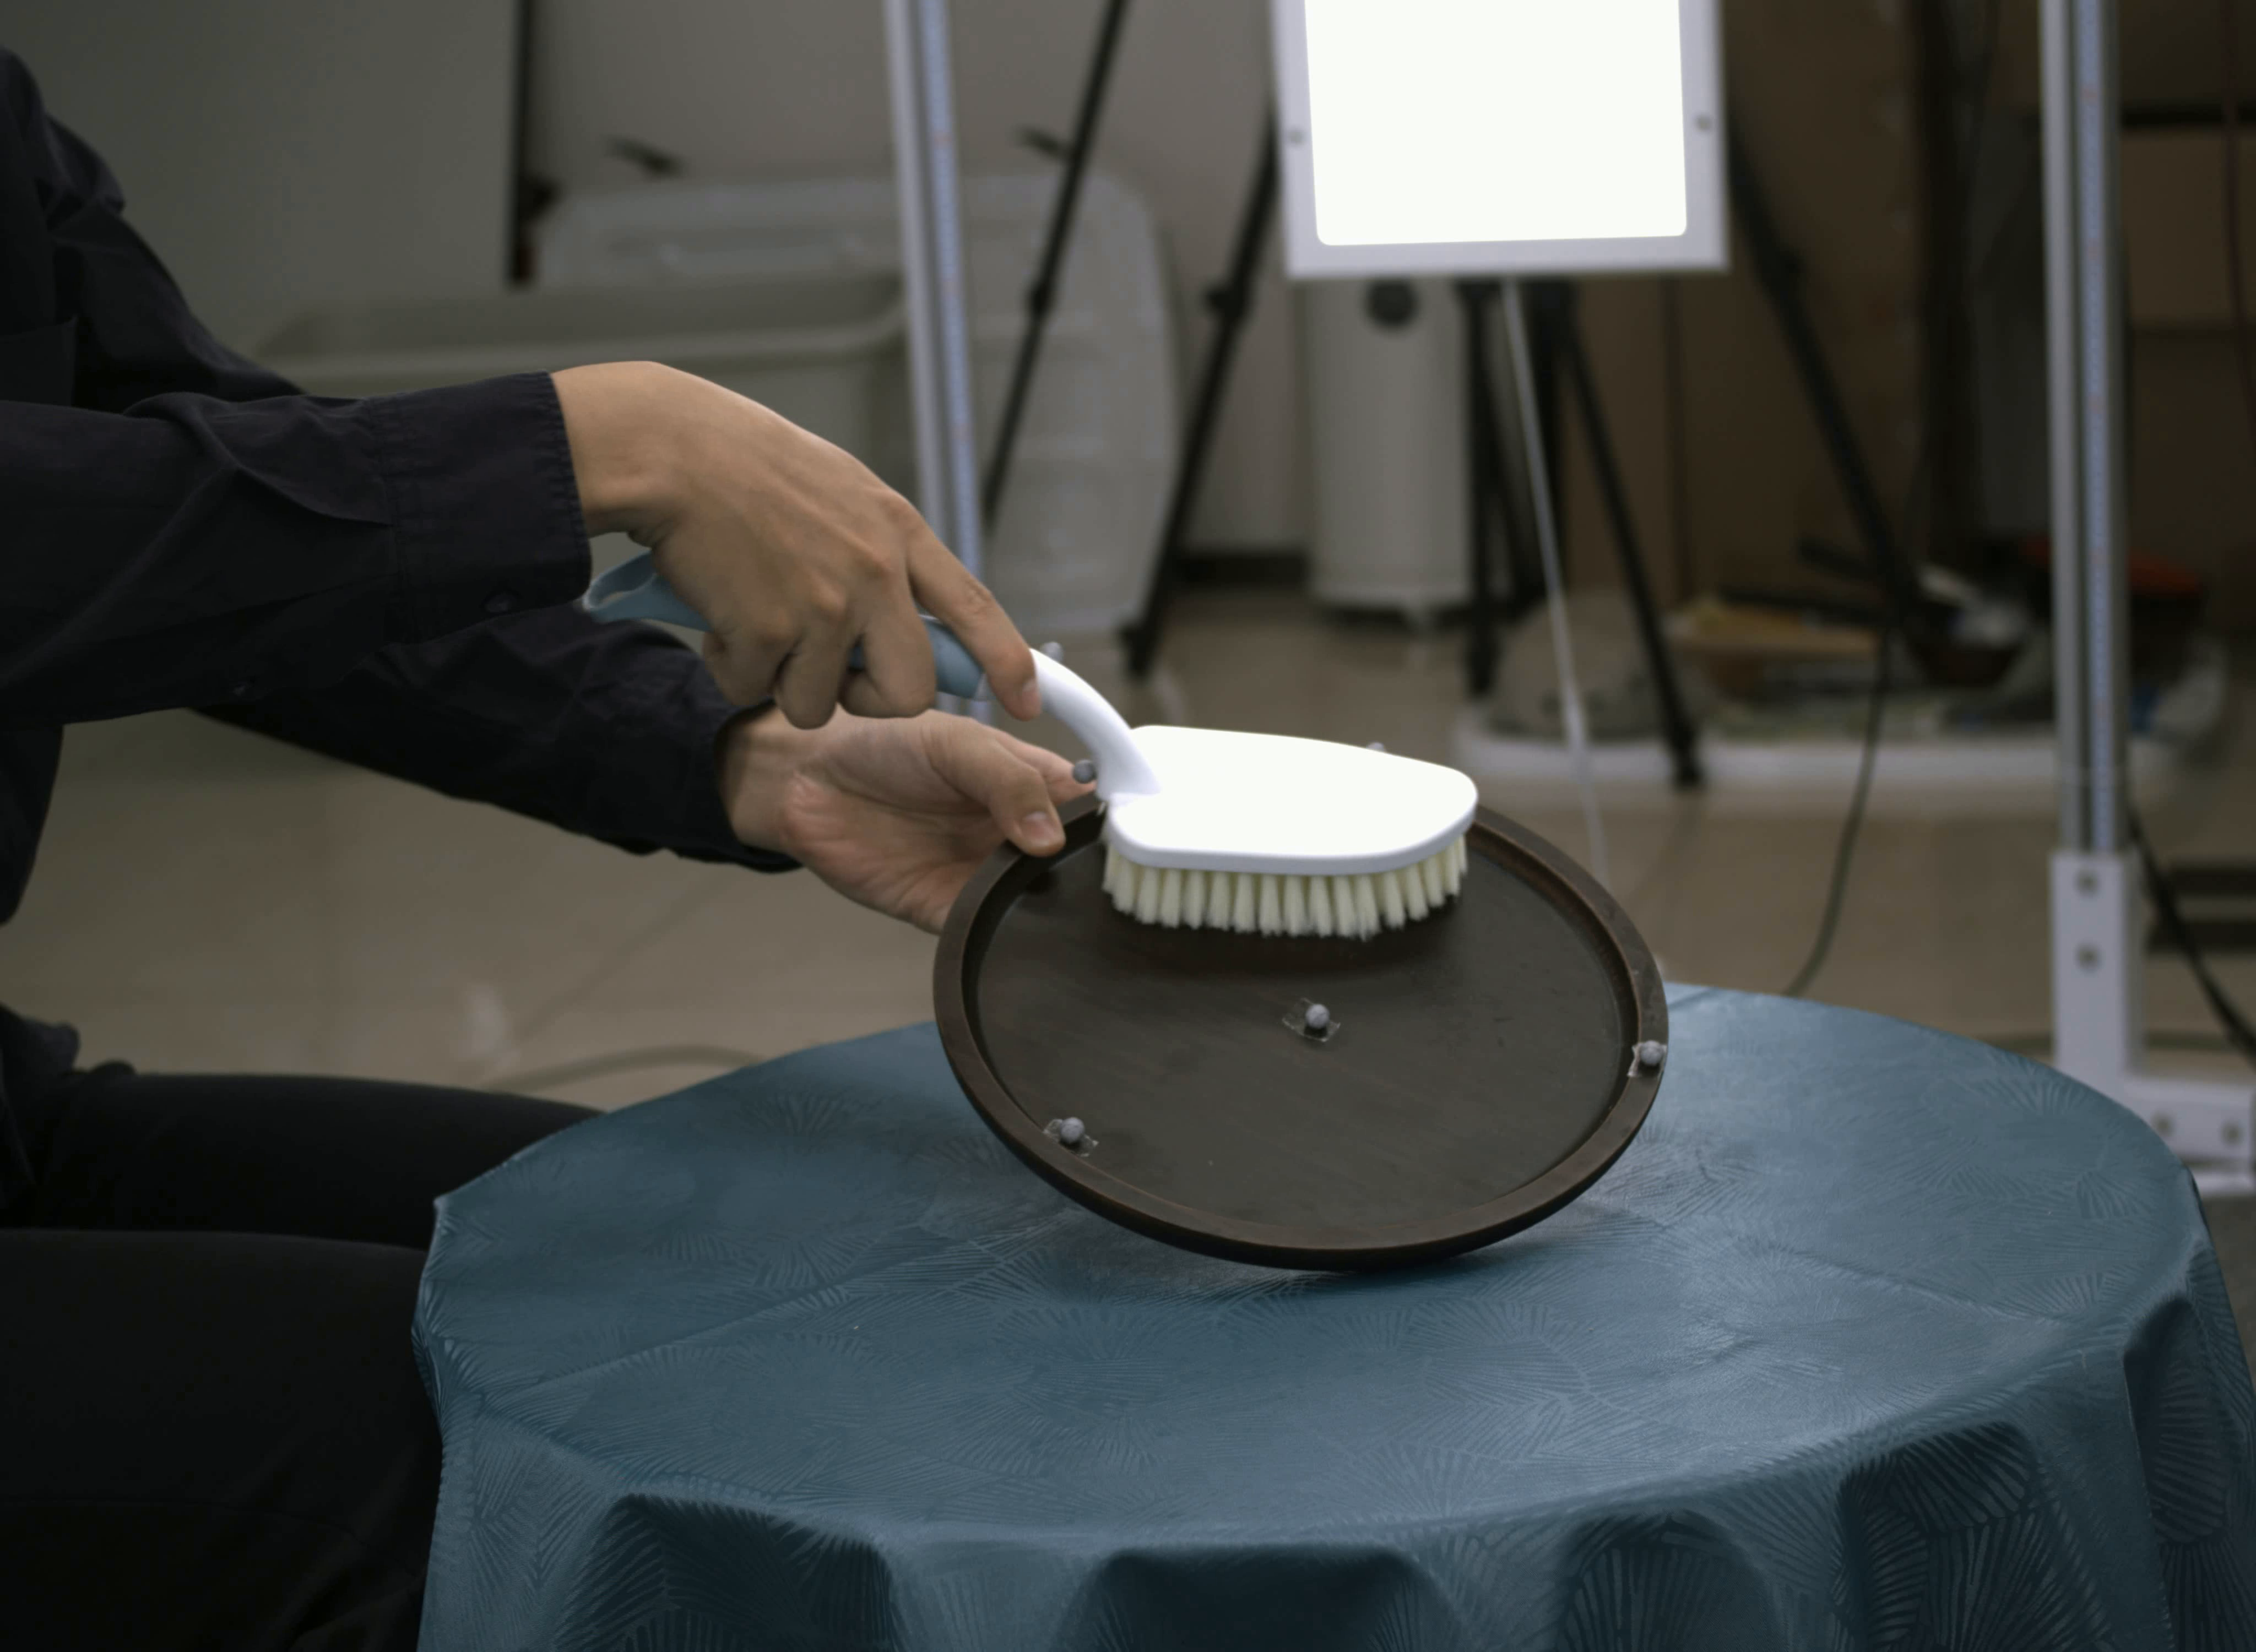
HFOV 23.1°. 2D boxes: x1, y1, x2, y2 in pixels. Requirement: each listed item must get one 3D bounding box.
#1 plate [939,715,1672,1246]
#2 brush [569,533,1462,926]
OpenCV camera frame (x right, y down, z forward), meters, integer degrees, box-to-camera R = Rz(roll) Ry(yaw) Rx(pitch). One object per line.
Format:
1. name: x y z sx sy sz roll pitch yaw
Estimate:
1. plate: 0.061 0.053 1.887 0.254 0.029 0.254 0 42 -1
2. brush: -0.043 -0.026 1.907 0.322 0.085 0.083 14 3 -9
